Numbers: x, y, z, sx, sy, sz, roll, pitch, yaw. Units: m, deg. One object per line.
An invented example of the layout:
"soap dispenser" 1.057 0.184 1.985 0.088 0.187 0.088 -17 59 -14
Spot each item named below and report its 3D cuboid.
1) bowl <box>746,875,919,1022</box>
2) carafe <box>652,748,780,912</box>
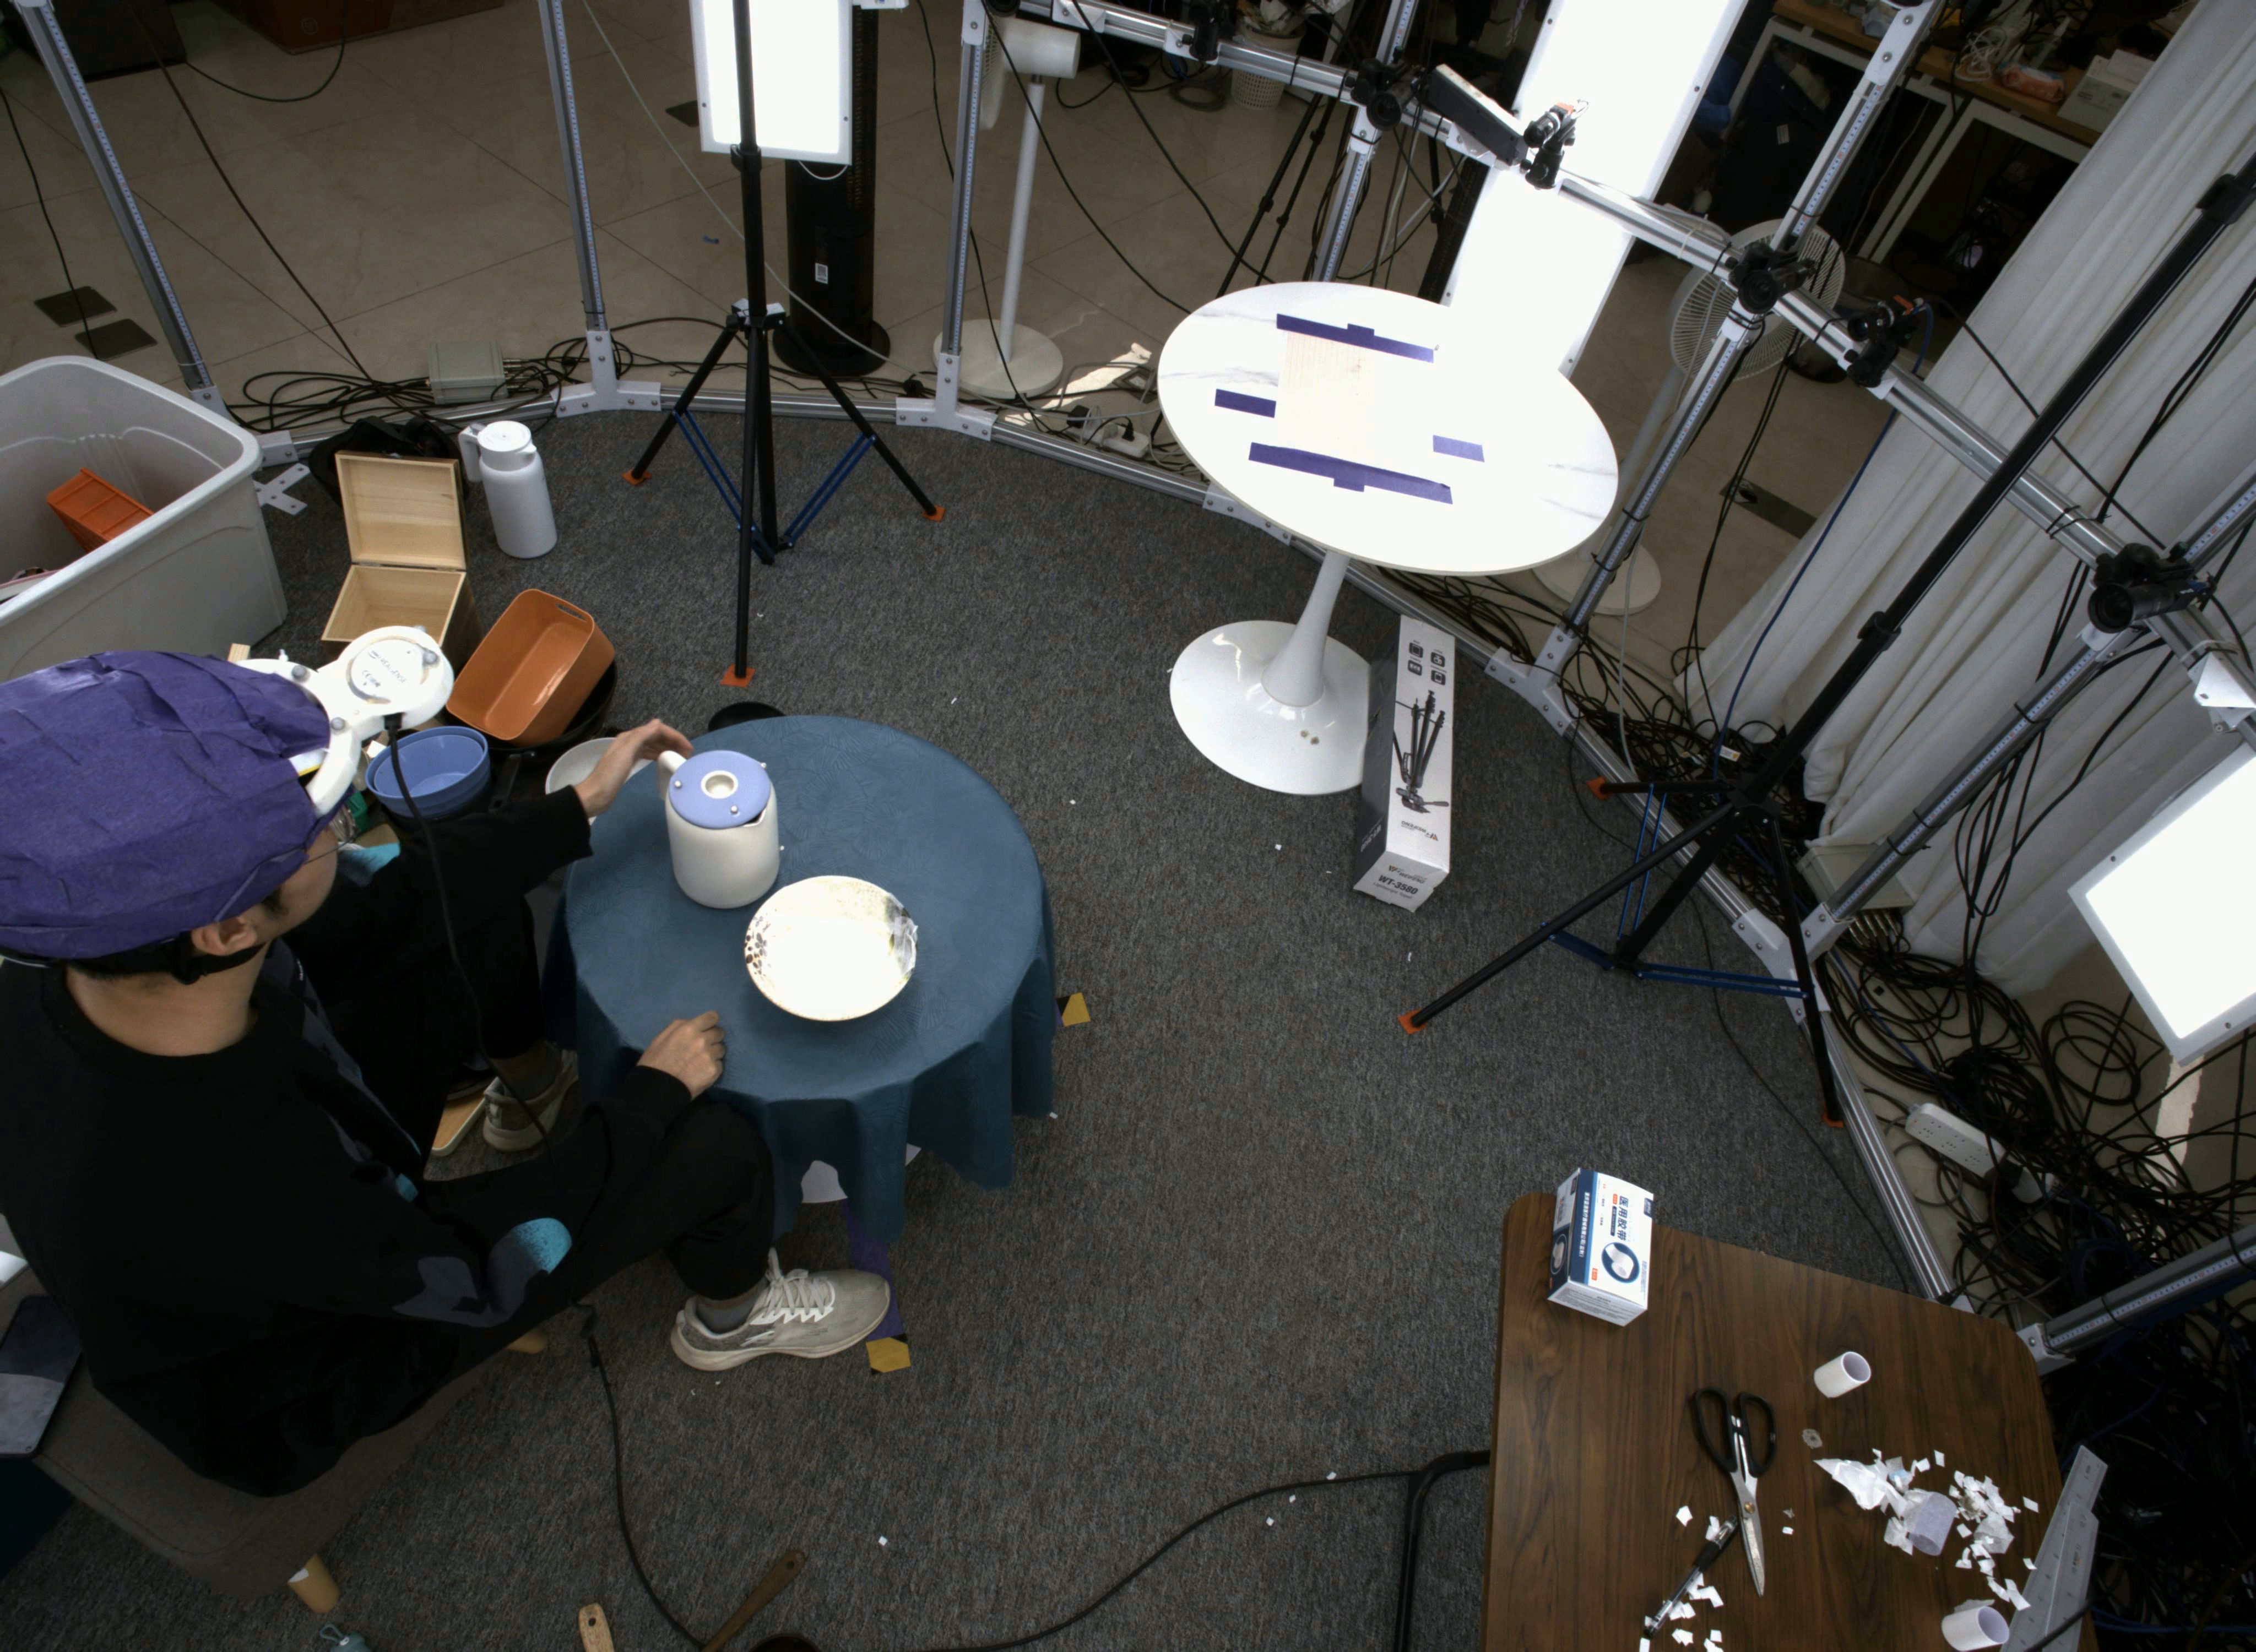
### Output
"bowl" -0.357 0.162 1.580 0.203 0.079 0.200 6 55 -7
"carafe" -0.520 -0.009 1.601 0.187 0.187 0.132 33 52 15
